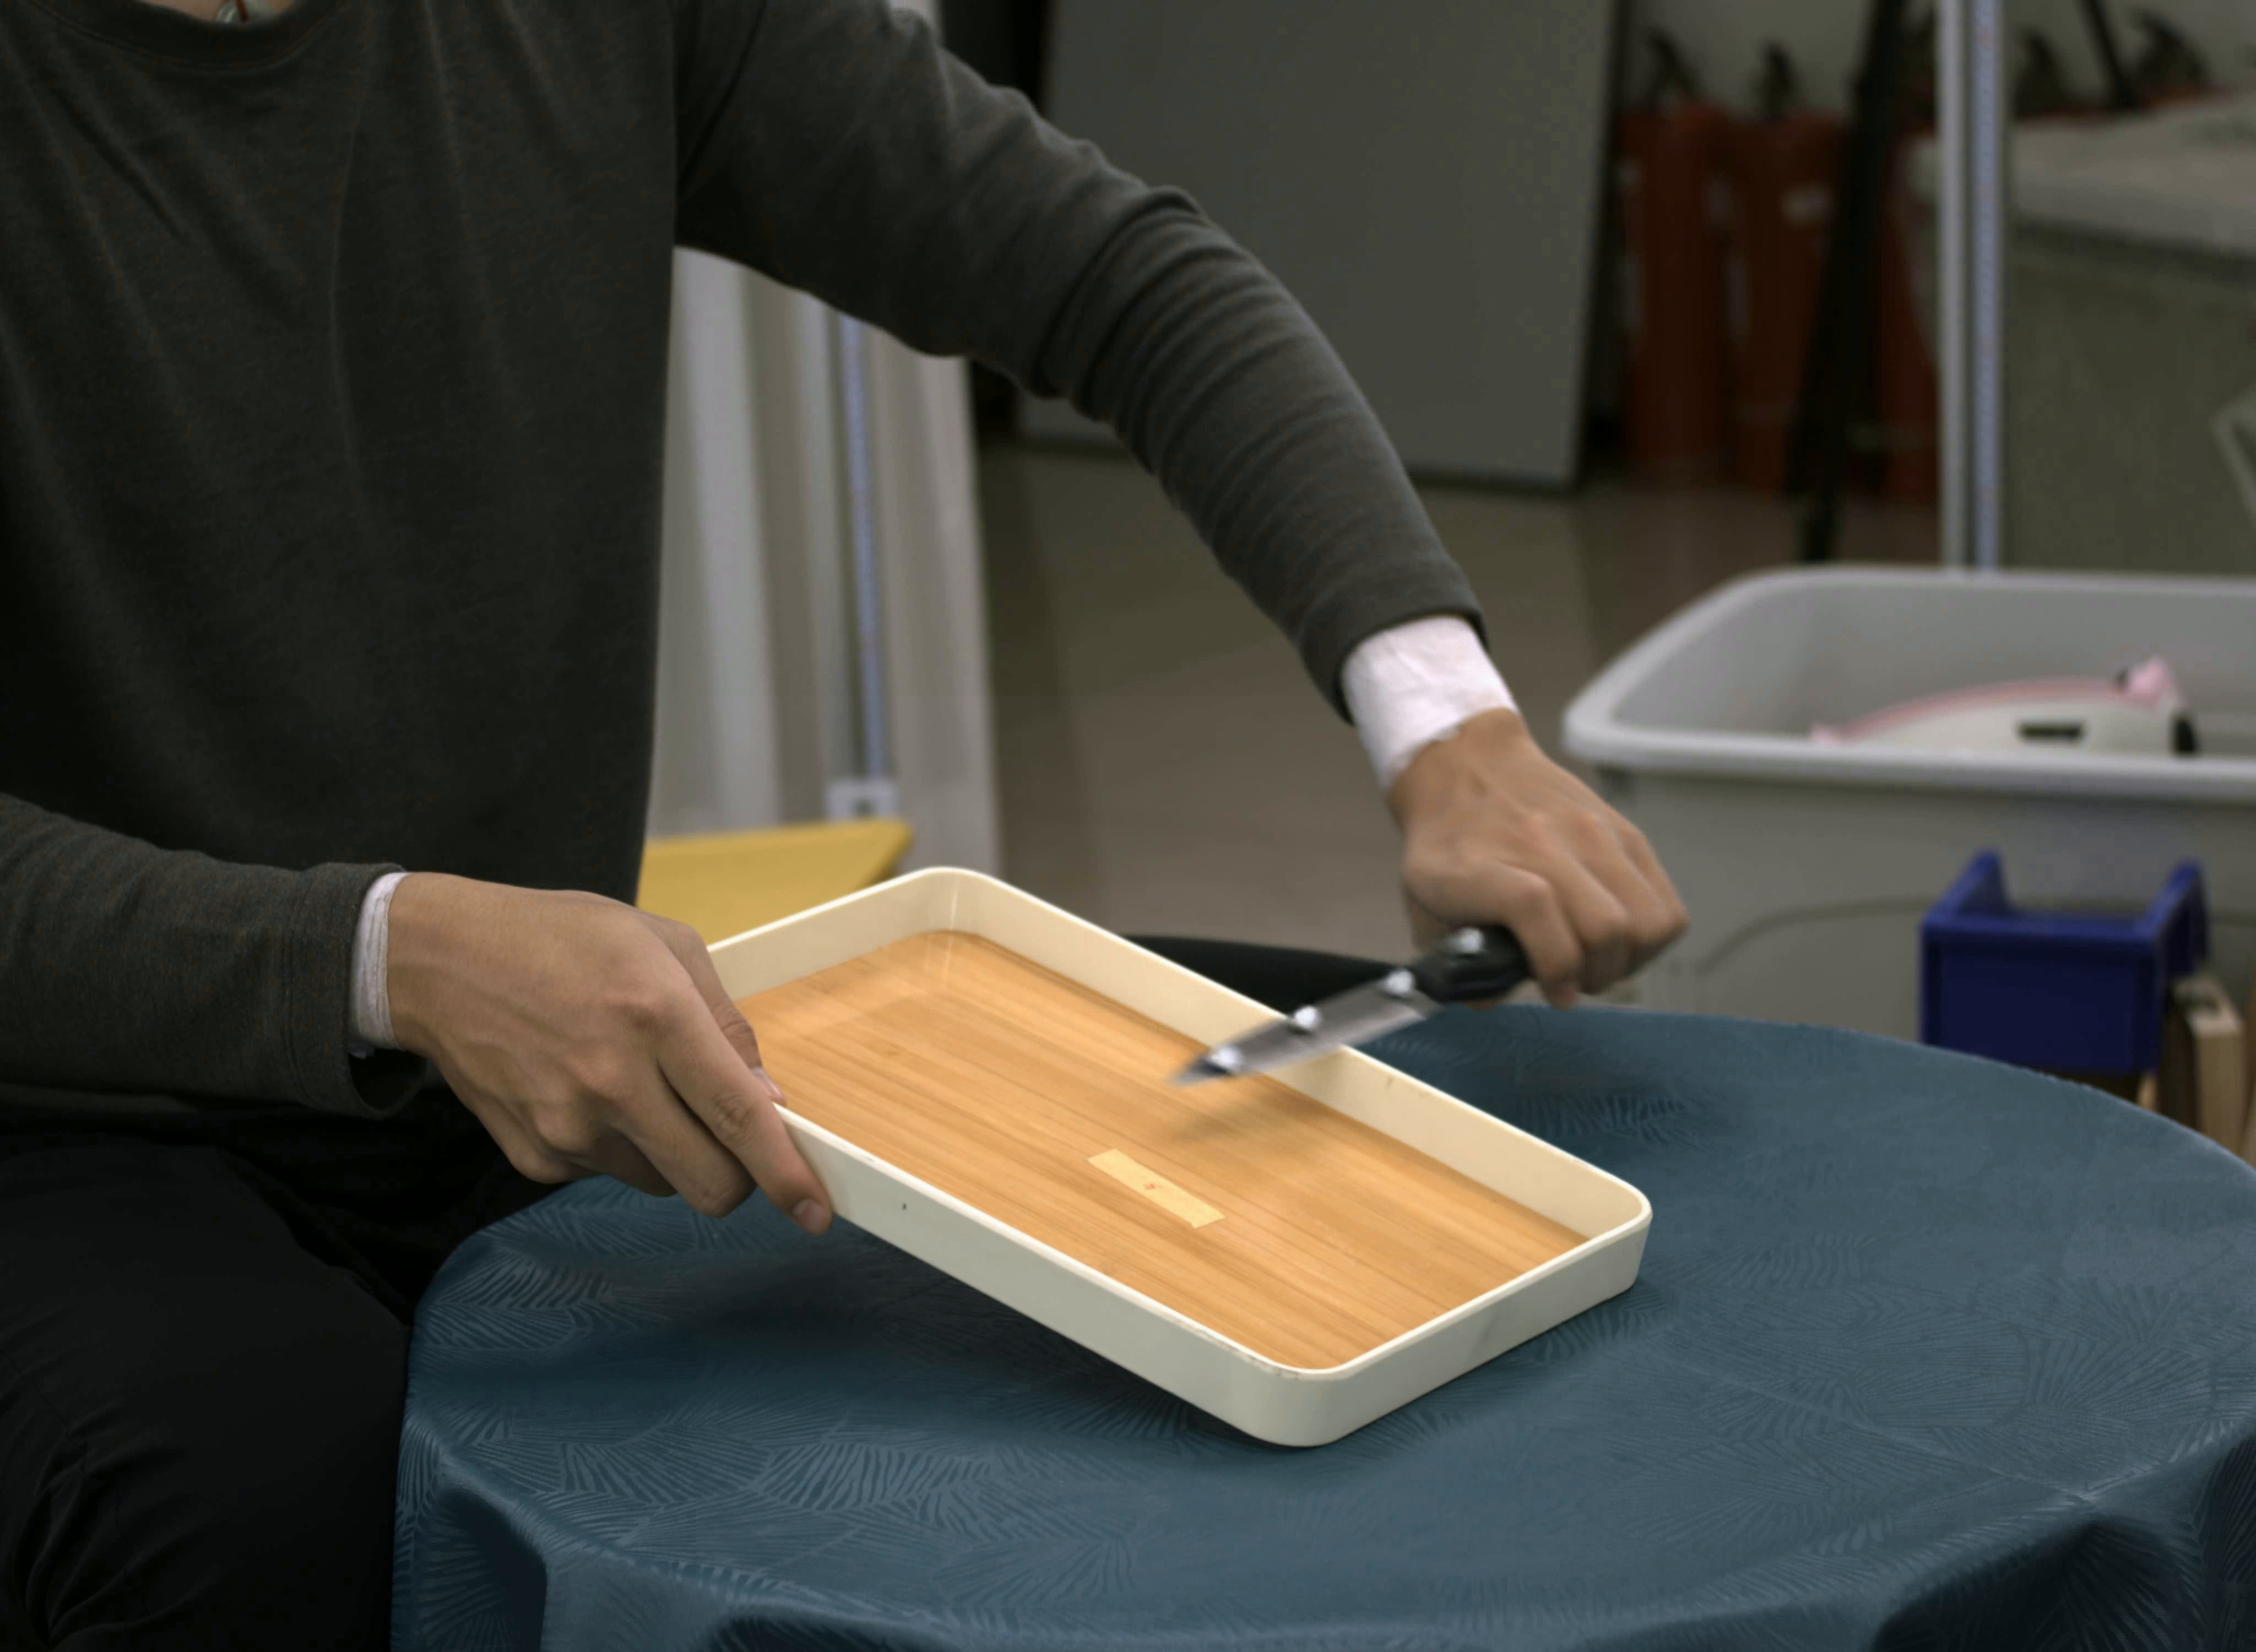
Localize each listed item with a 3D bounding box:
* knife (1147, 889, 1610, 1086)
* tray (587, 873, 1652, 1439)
[{"bbox_3d":[0.081,0.053,1.760,0.024,0.016,0.233,27,29,35],"label":"knife"},{"bbox_3d":[-0.004,0.096,1.667,0.303,0.028,0.188,25,27,34],"label":"tray"}]
